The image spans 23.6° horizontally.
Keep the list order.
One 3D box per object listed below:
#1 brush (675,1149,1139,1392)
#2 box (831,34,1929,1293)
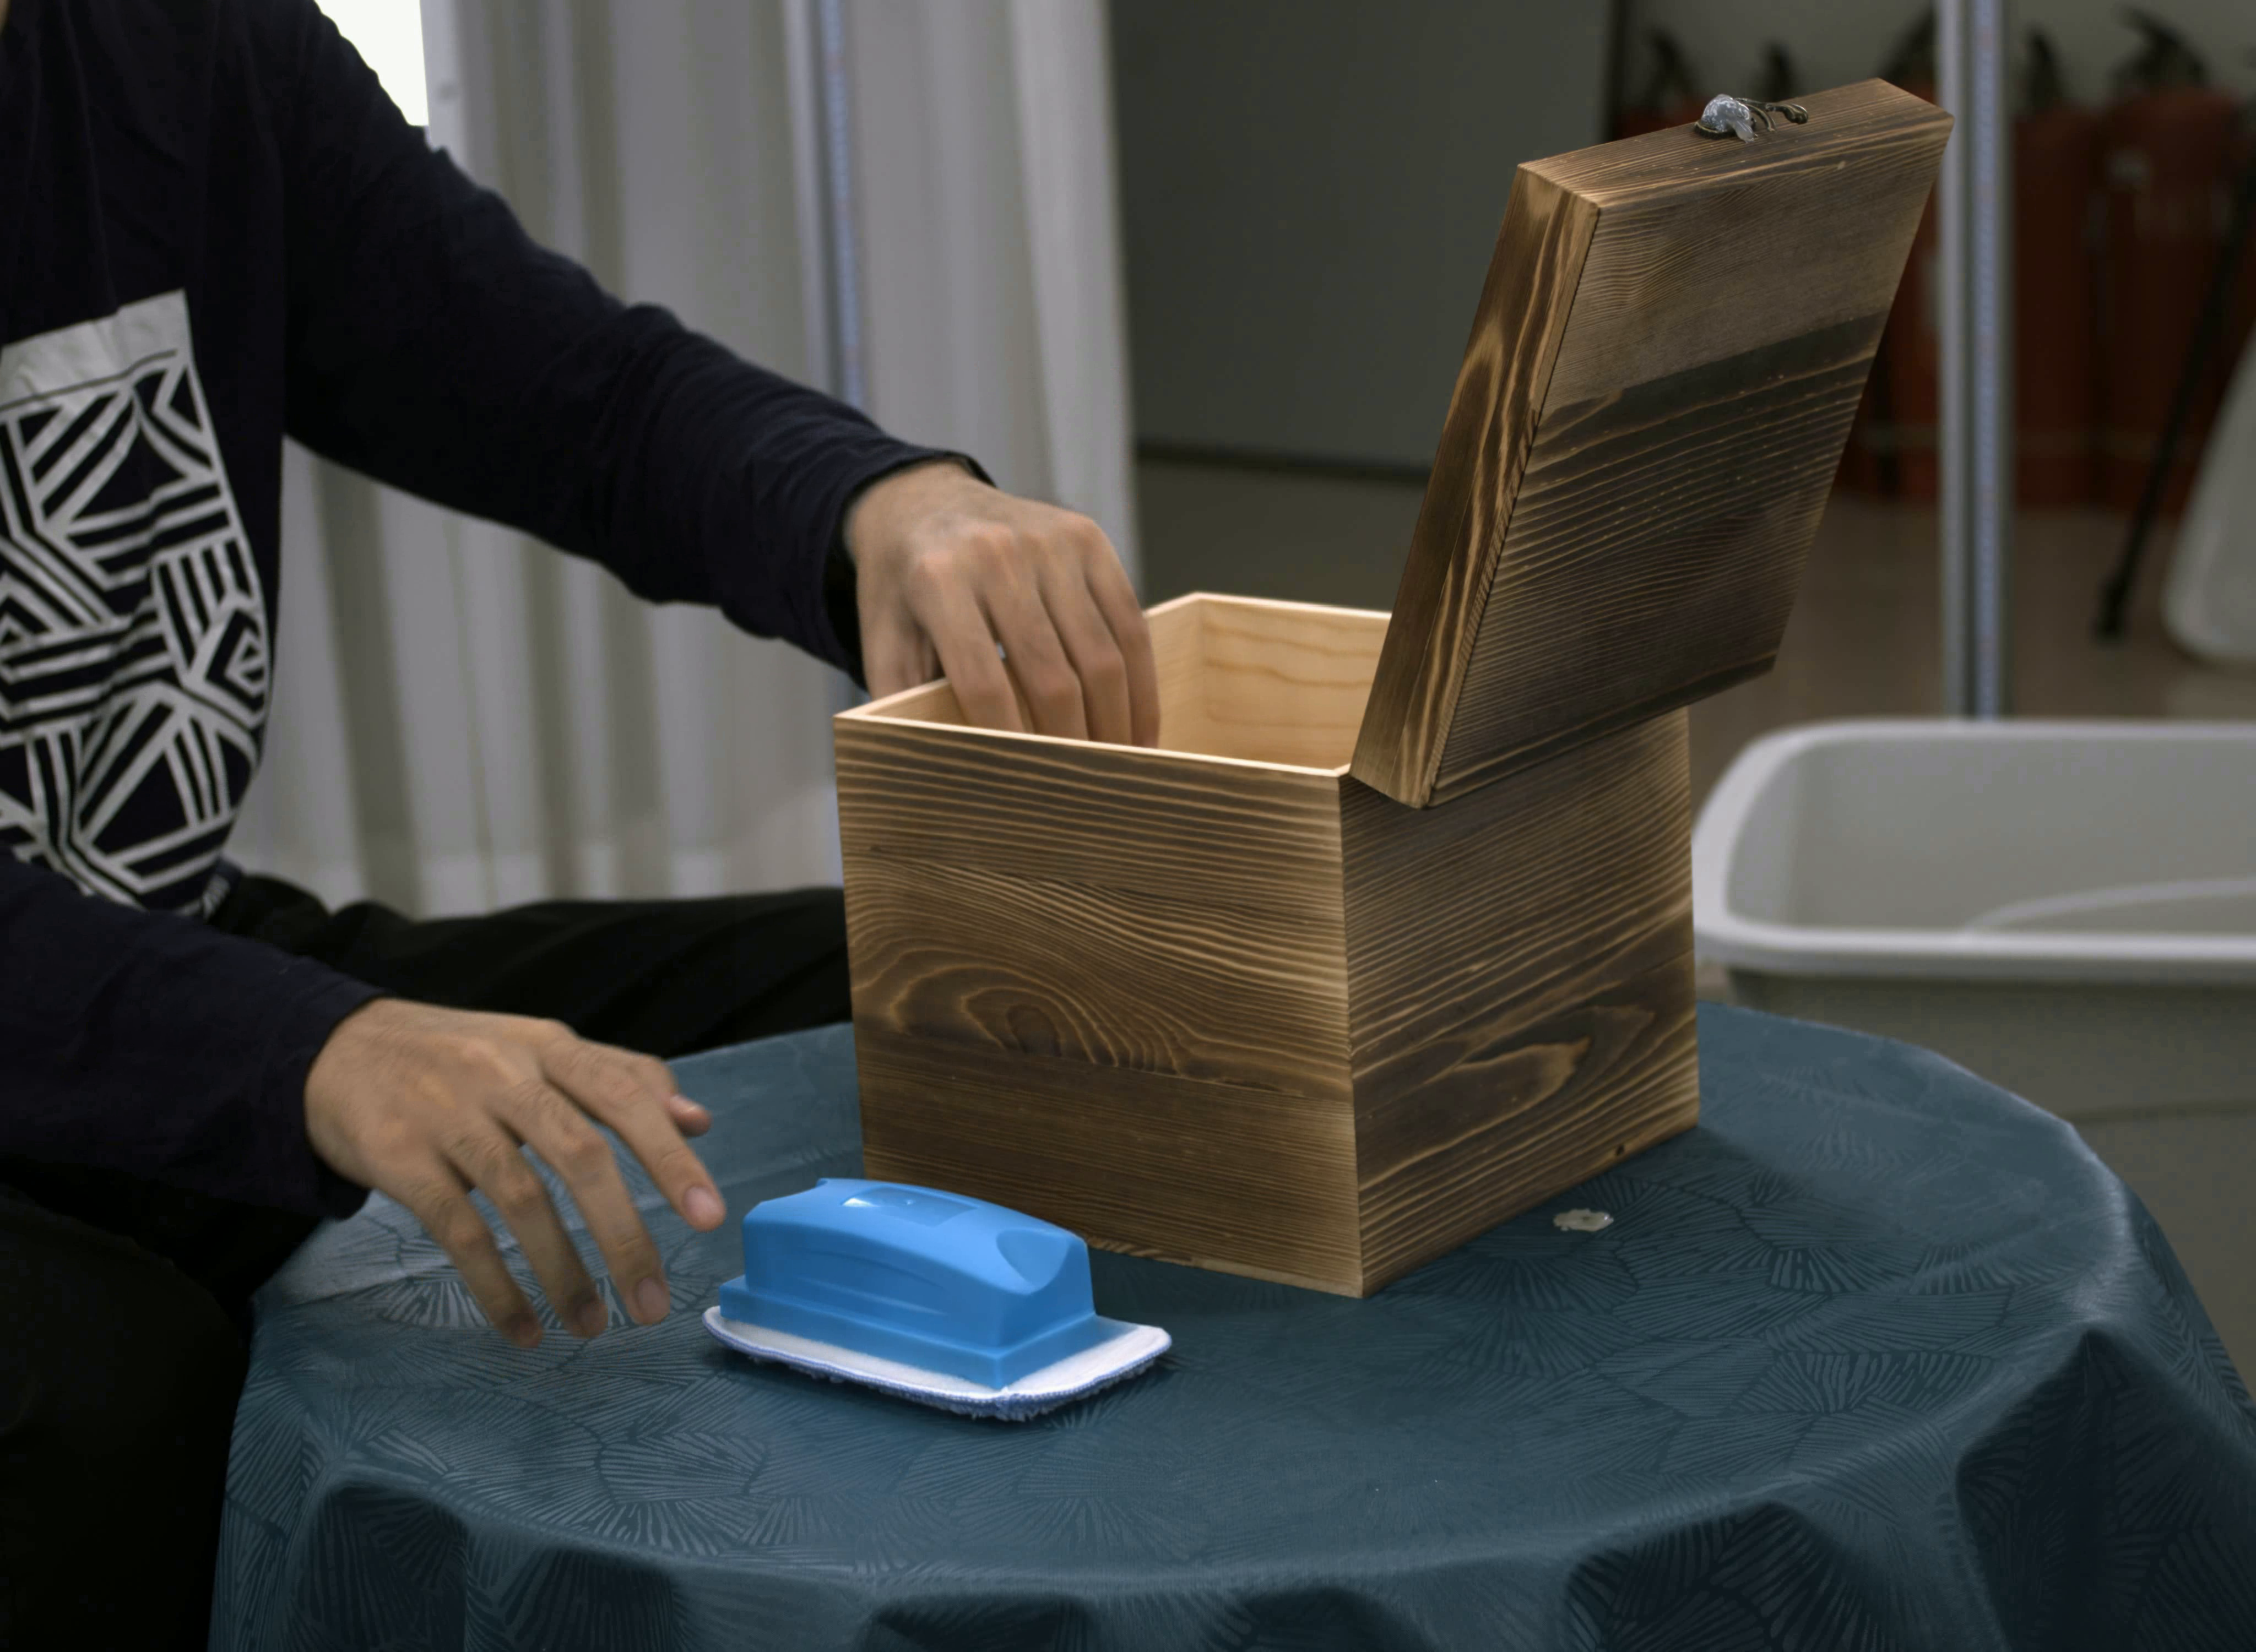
[{"bbox_3d":[-0.066,0.132,1.624,0.082,0.056,0.145,-12,17,-43],"label":"brush"},{"bbox_3d":[0.083,-0.058,1.718,0.324,0.379,0.205,6,16,38],"label":"box"}]
